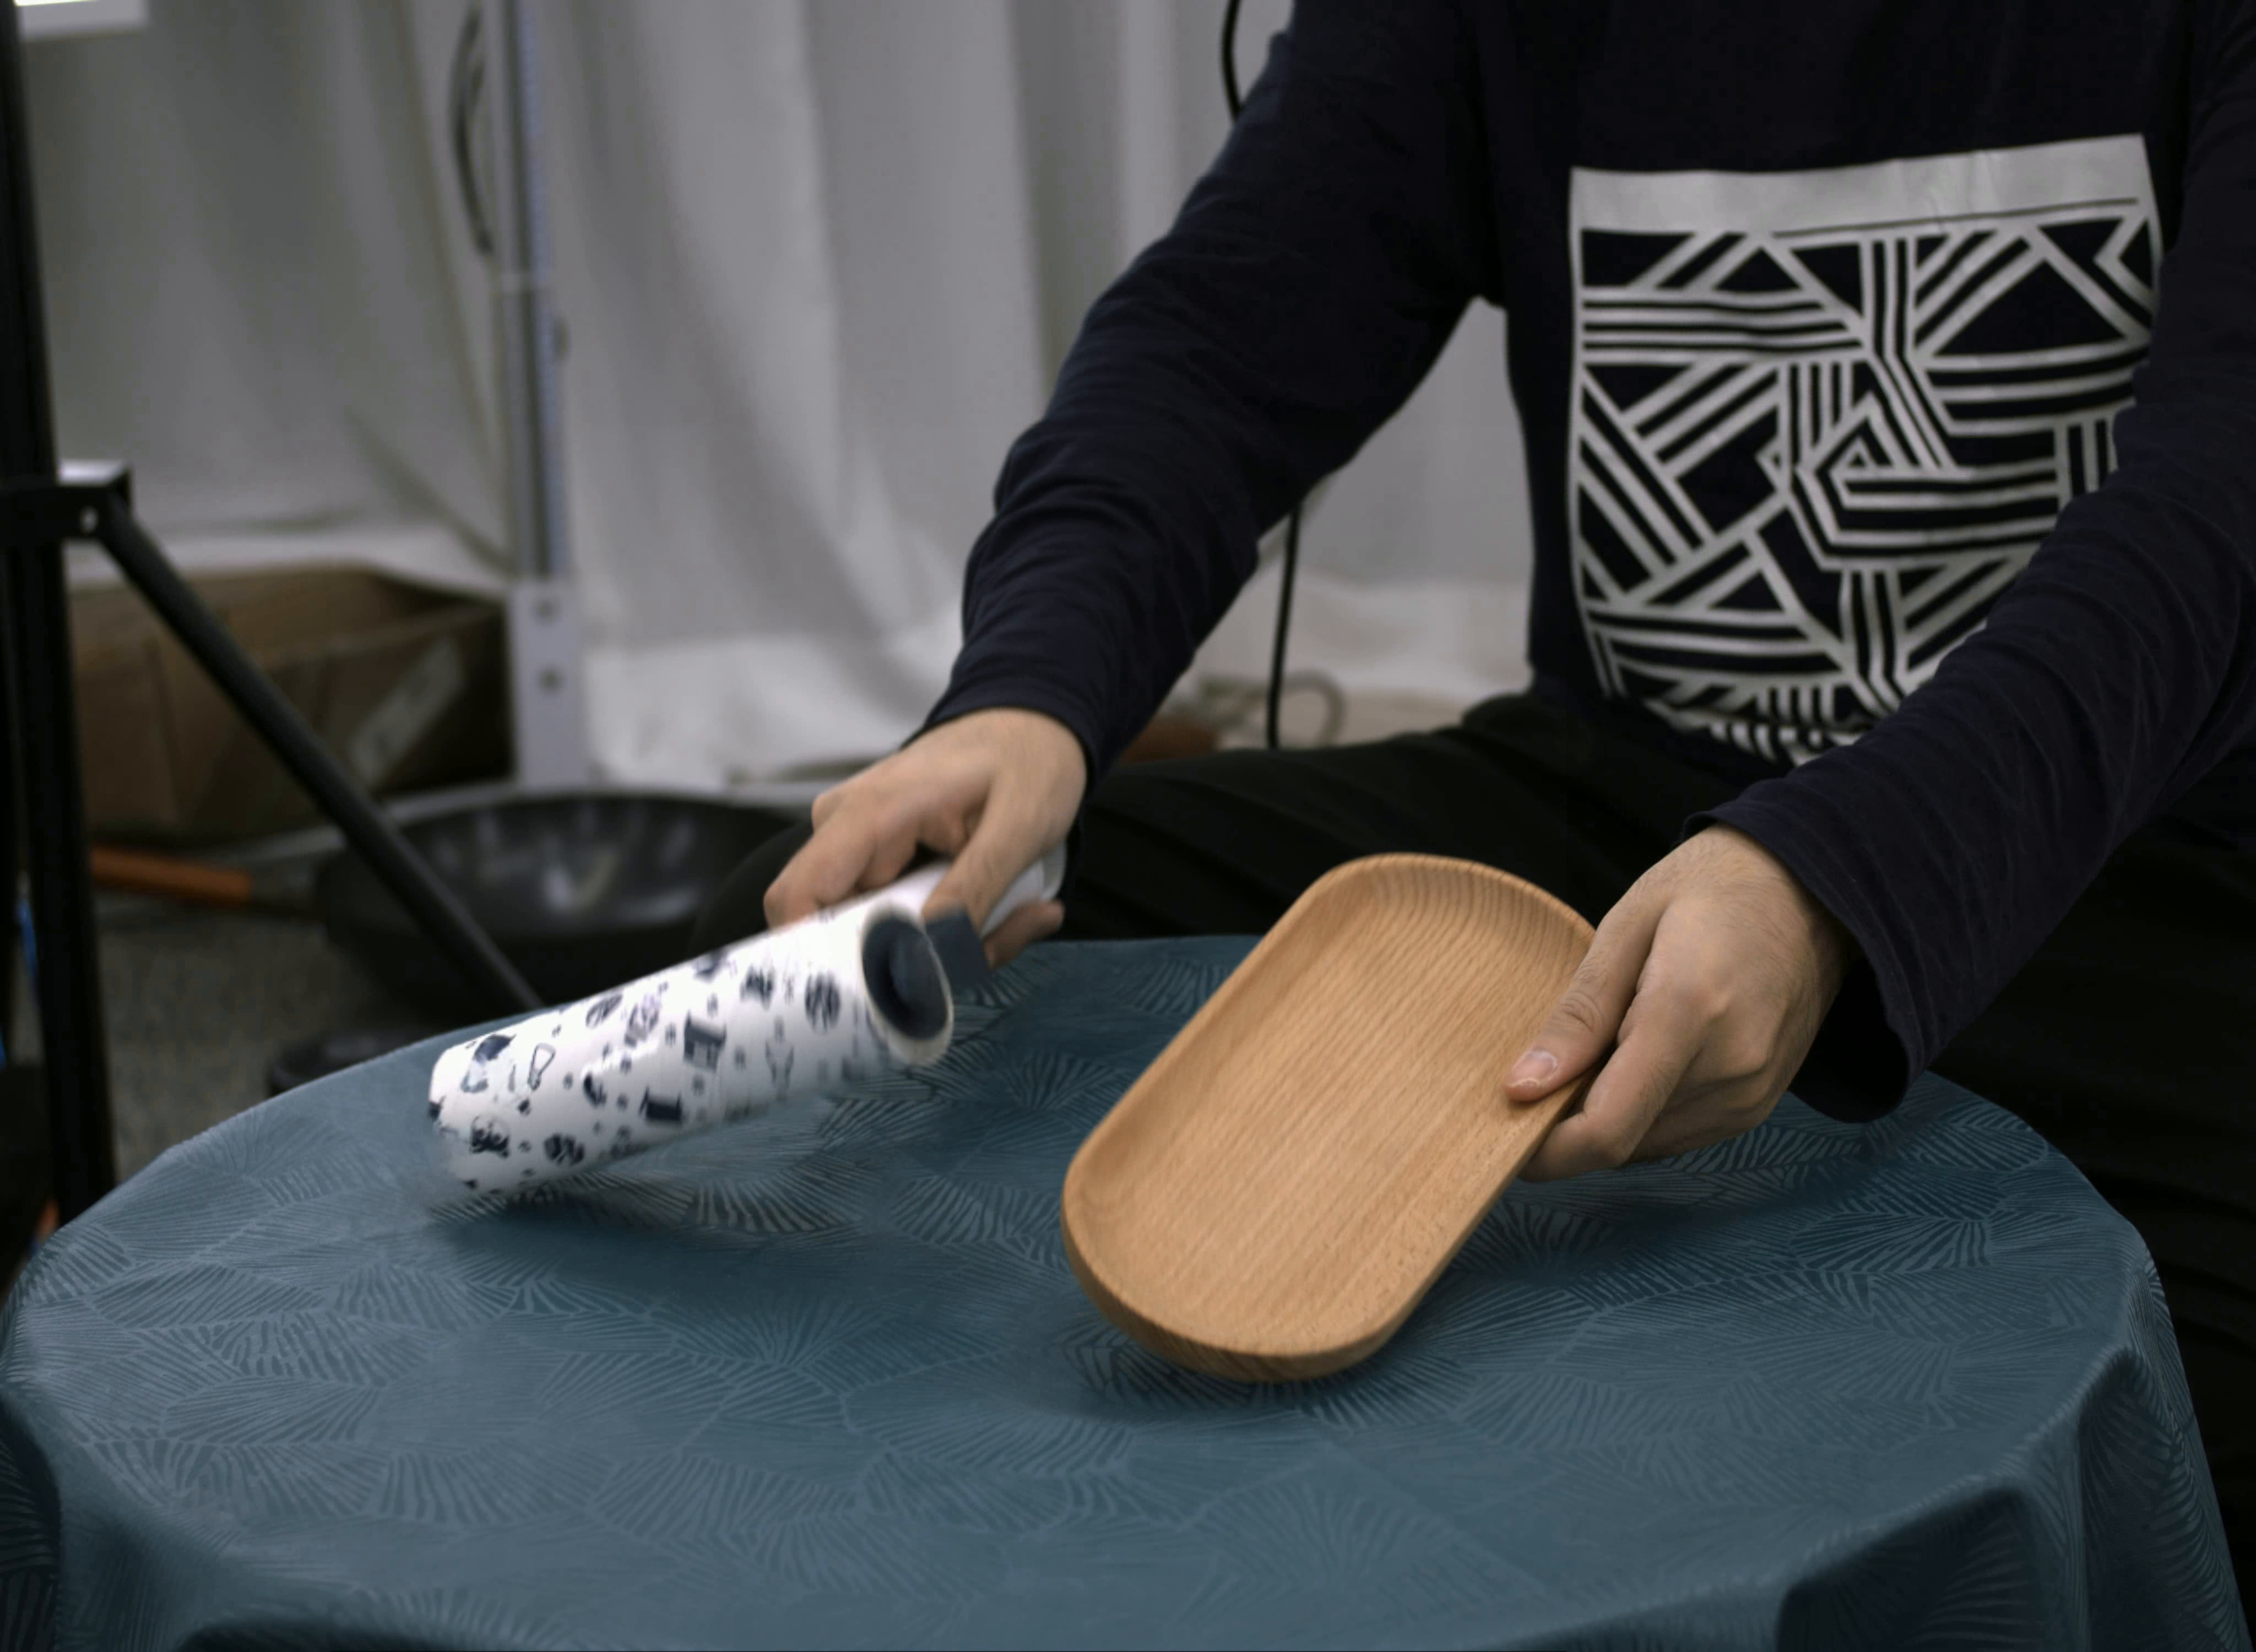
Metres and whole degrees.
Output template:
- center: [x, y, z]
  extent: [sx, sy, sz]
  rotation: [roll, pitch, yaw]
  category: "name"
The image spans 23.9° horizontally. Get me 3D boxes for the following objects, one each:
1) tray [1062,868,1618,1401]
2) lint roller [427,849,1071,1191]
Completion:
- center: [0.061, 0.083, 1.475]
  extent: [0.103, 0.020, 0.229]
  rotation: [22, 41, 17]
  category: "tray"
- center: [-0.084, 0.041, 1.624]
  extent: [0.179, 0.050, 0.243]
  rotation: [-18, 6, 31]
  category: "lint roller"
